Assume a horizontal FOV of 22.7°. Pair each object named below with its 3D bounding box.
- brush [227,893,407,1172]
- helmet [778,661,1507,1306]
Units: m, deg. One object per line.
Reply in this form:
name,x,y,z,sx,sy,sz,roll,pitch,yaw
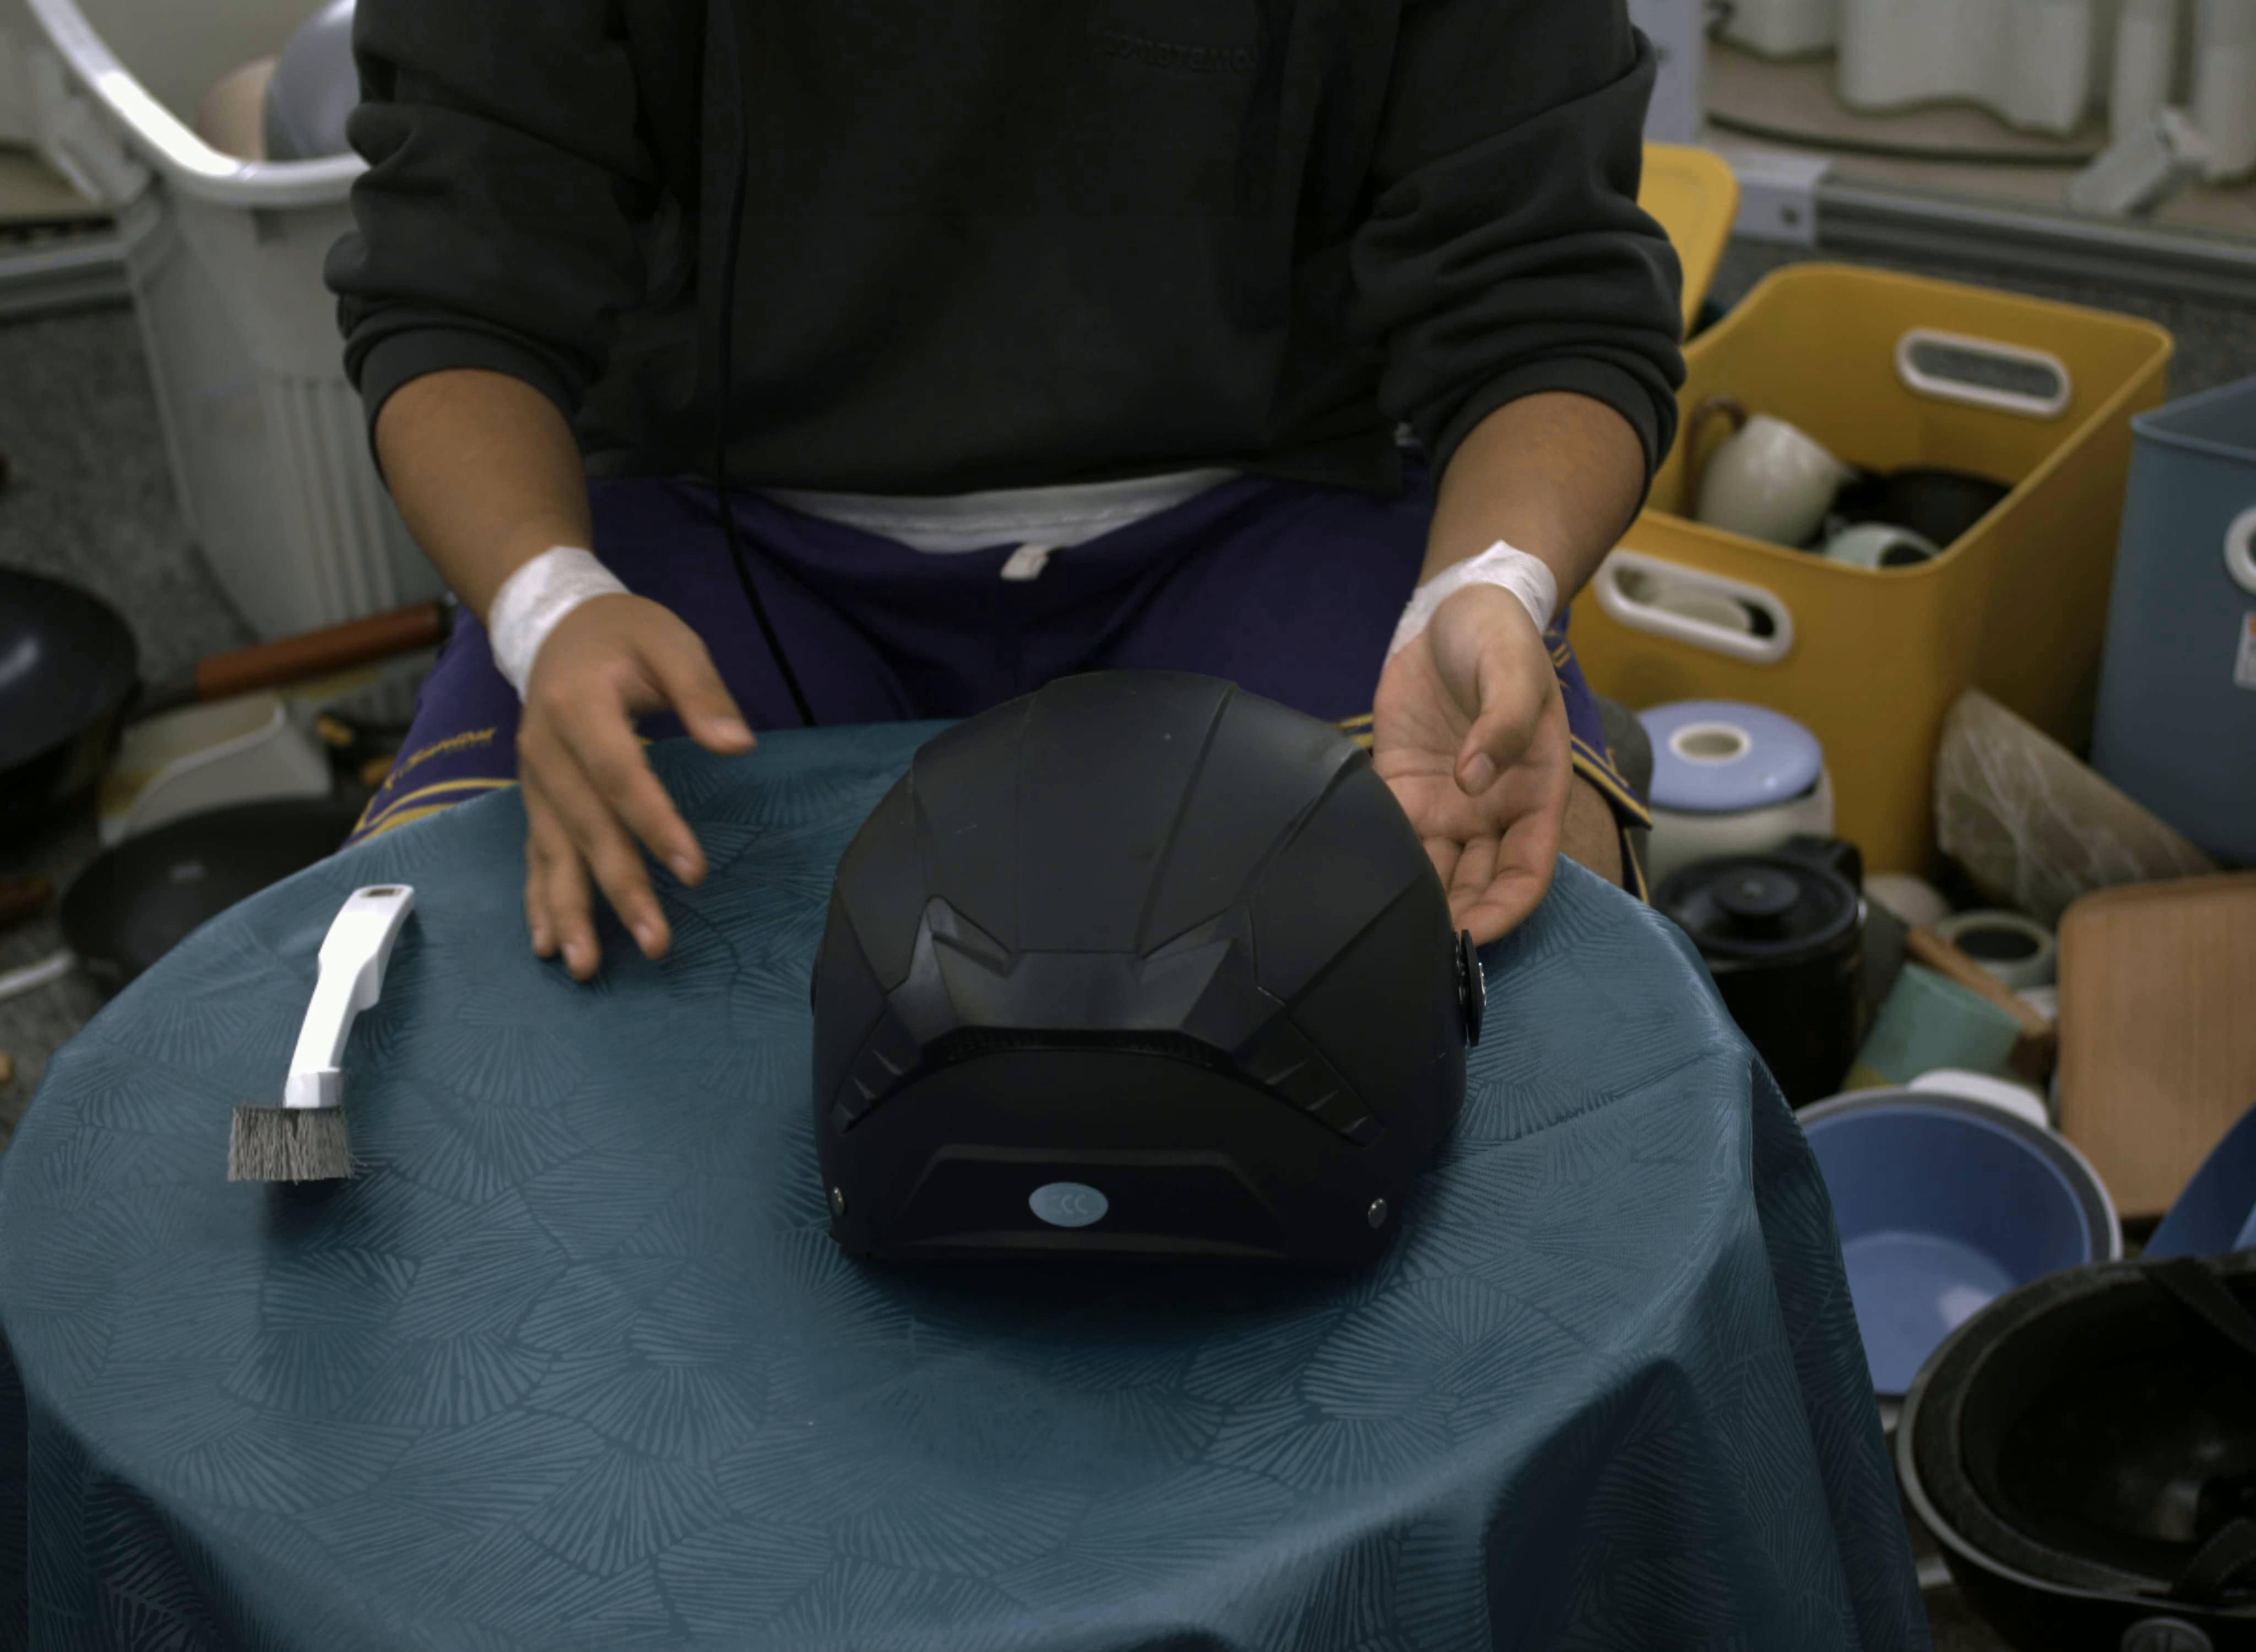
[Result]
brush,-0.277,0.076,1.954,0.034,0.050,0.246,-3,14,2
helmet,0.005,0.035,1.859,0.245,0.170,0.281,2,30,9
